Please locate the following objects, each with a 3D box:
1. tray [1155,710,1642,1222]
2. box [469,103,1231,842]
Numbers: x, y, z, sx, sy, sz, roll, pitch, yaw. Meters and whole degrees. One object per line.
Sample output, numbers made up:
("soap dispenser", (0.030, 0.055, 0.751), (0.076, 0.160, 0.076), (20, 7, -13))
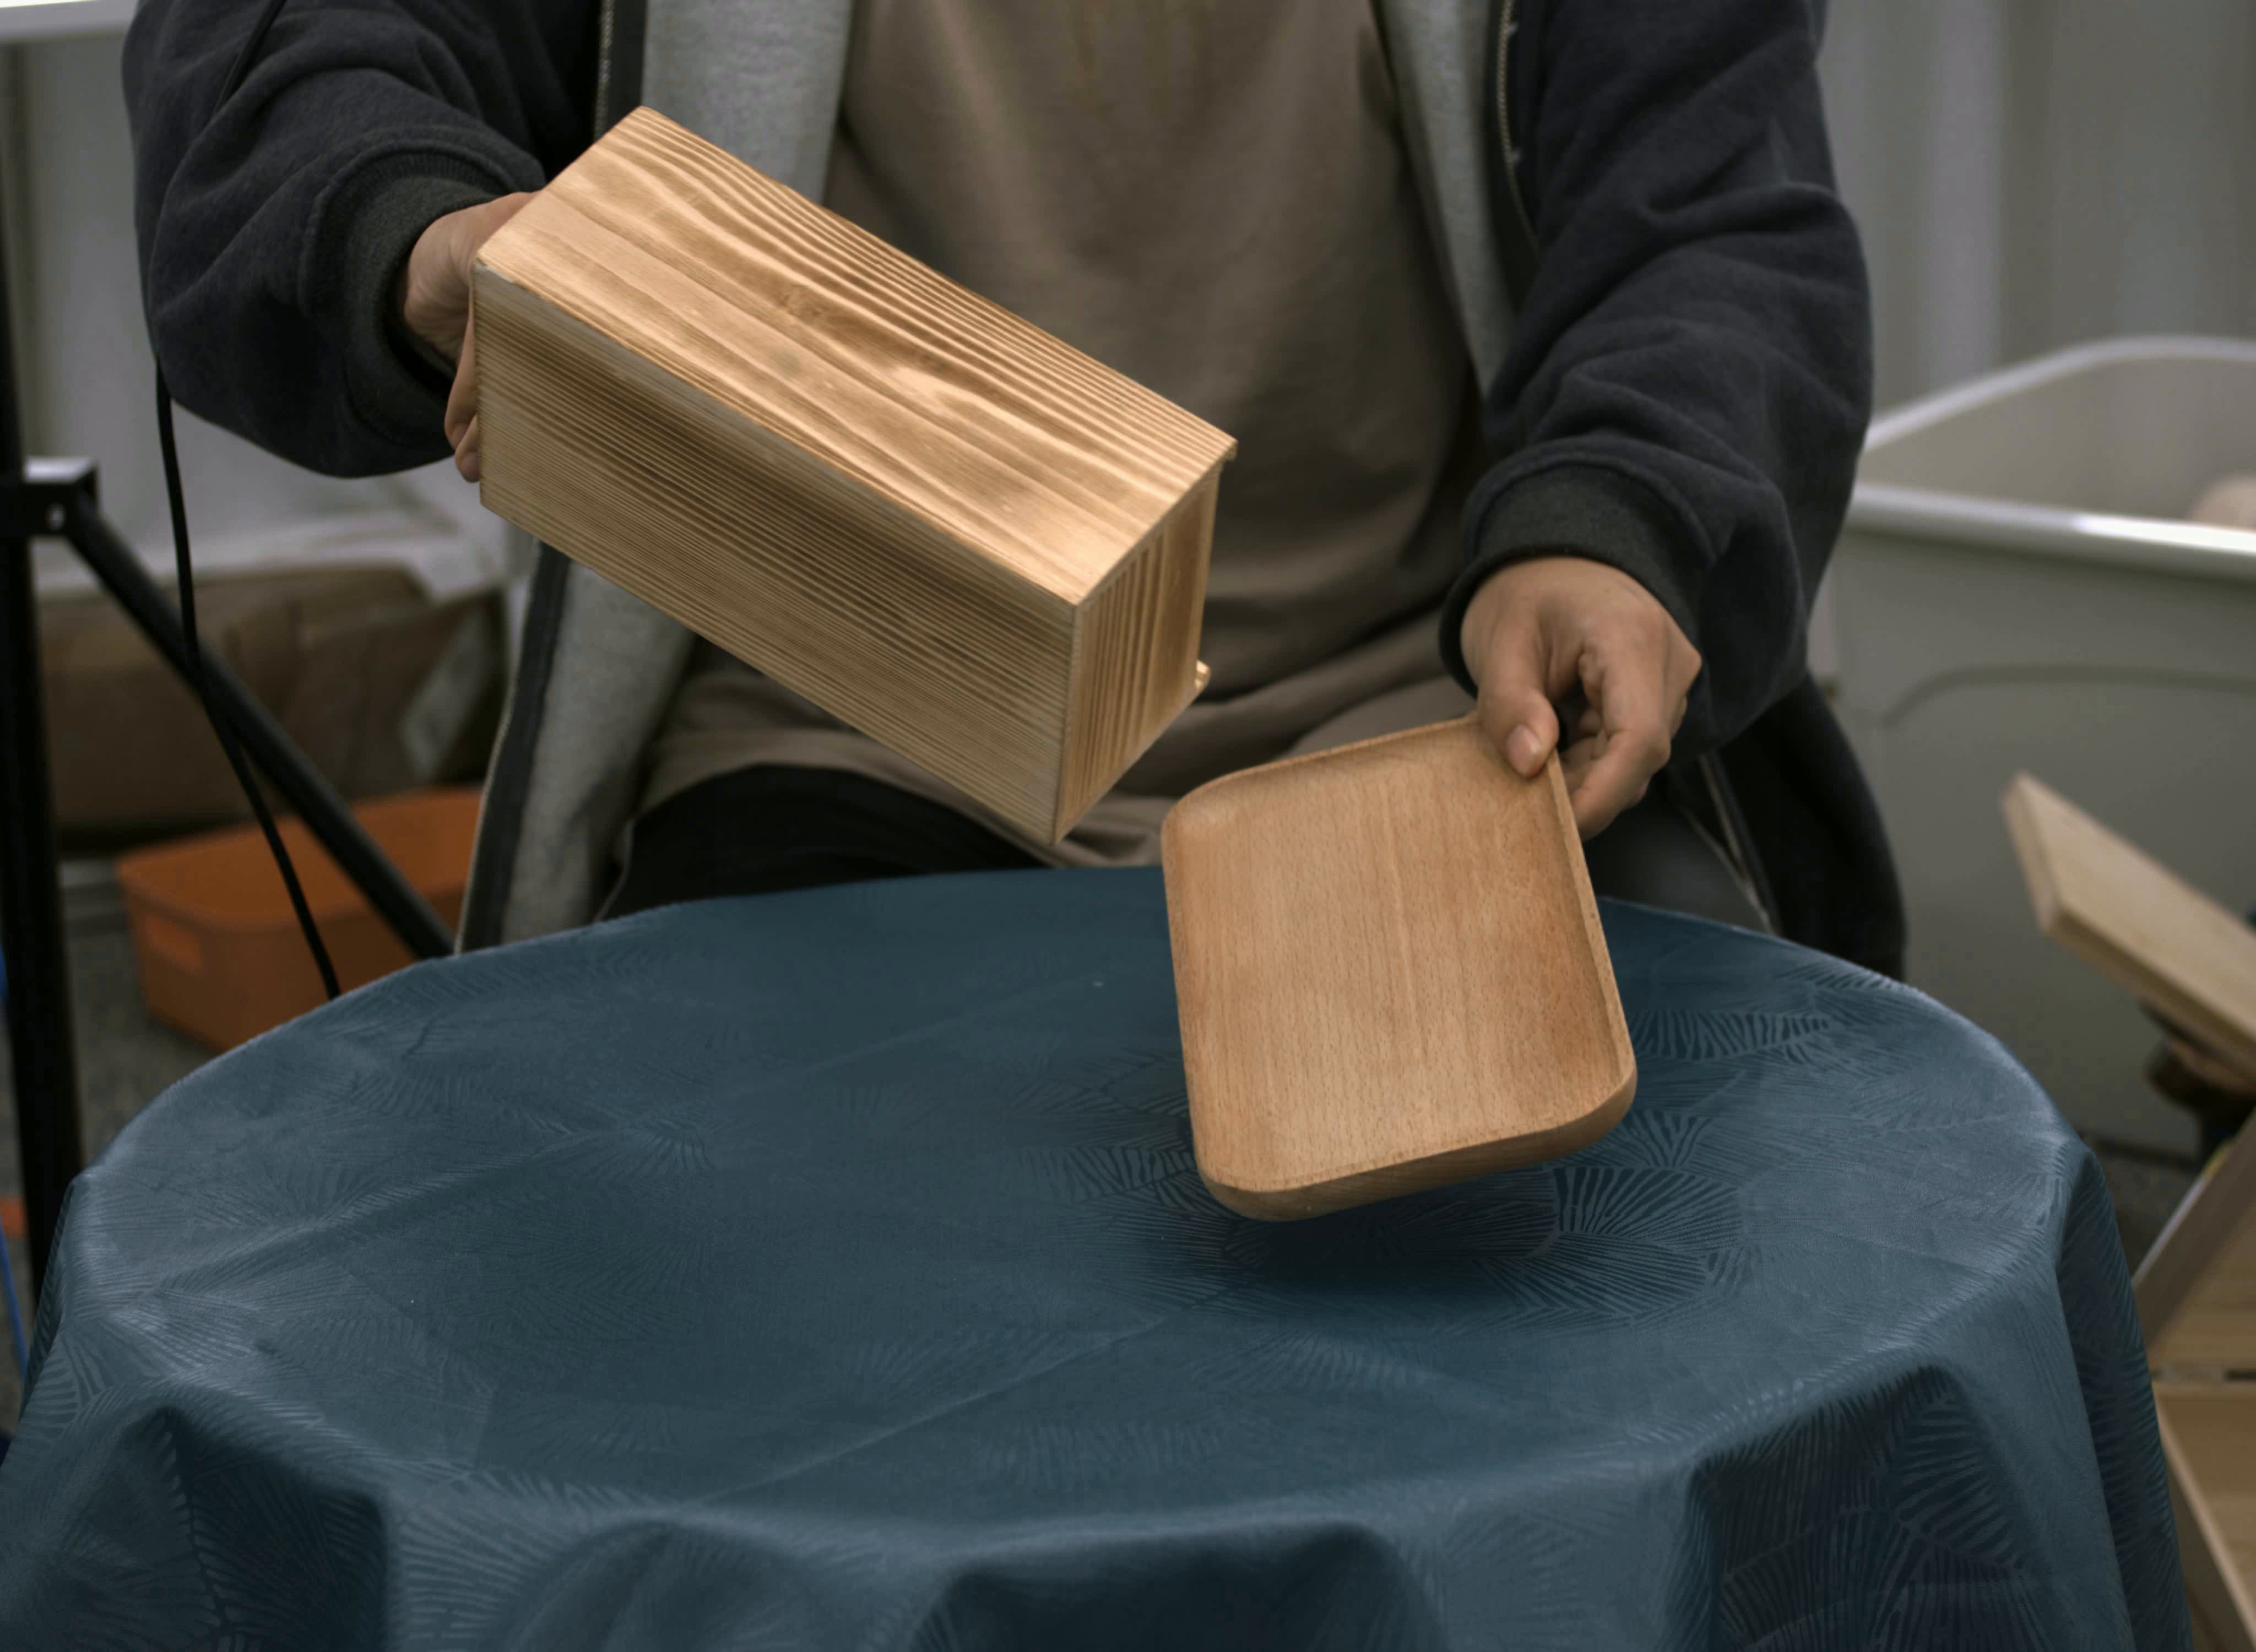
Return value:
("tray", (0.076, 0.038, 1.567), (0.130, 0.023, 0.253), (-11, 27, 4))
("box", (-0.082, -0.102, 1.527), (0.214, 0.107, 0.079), (31, 55, 21))
